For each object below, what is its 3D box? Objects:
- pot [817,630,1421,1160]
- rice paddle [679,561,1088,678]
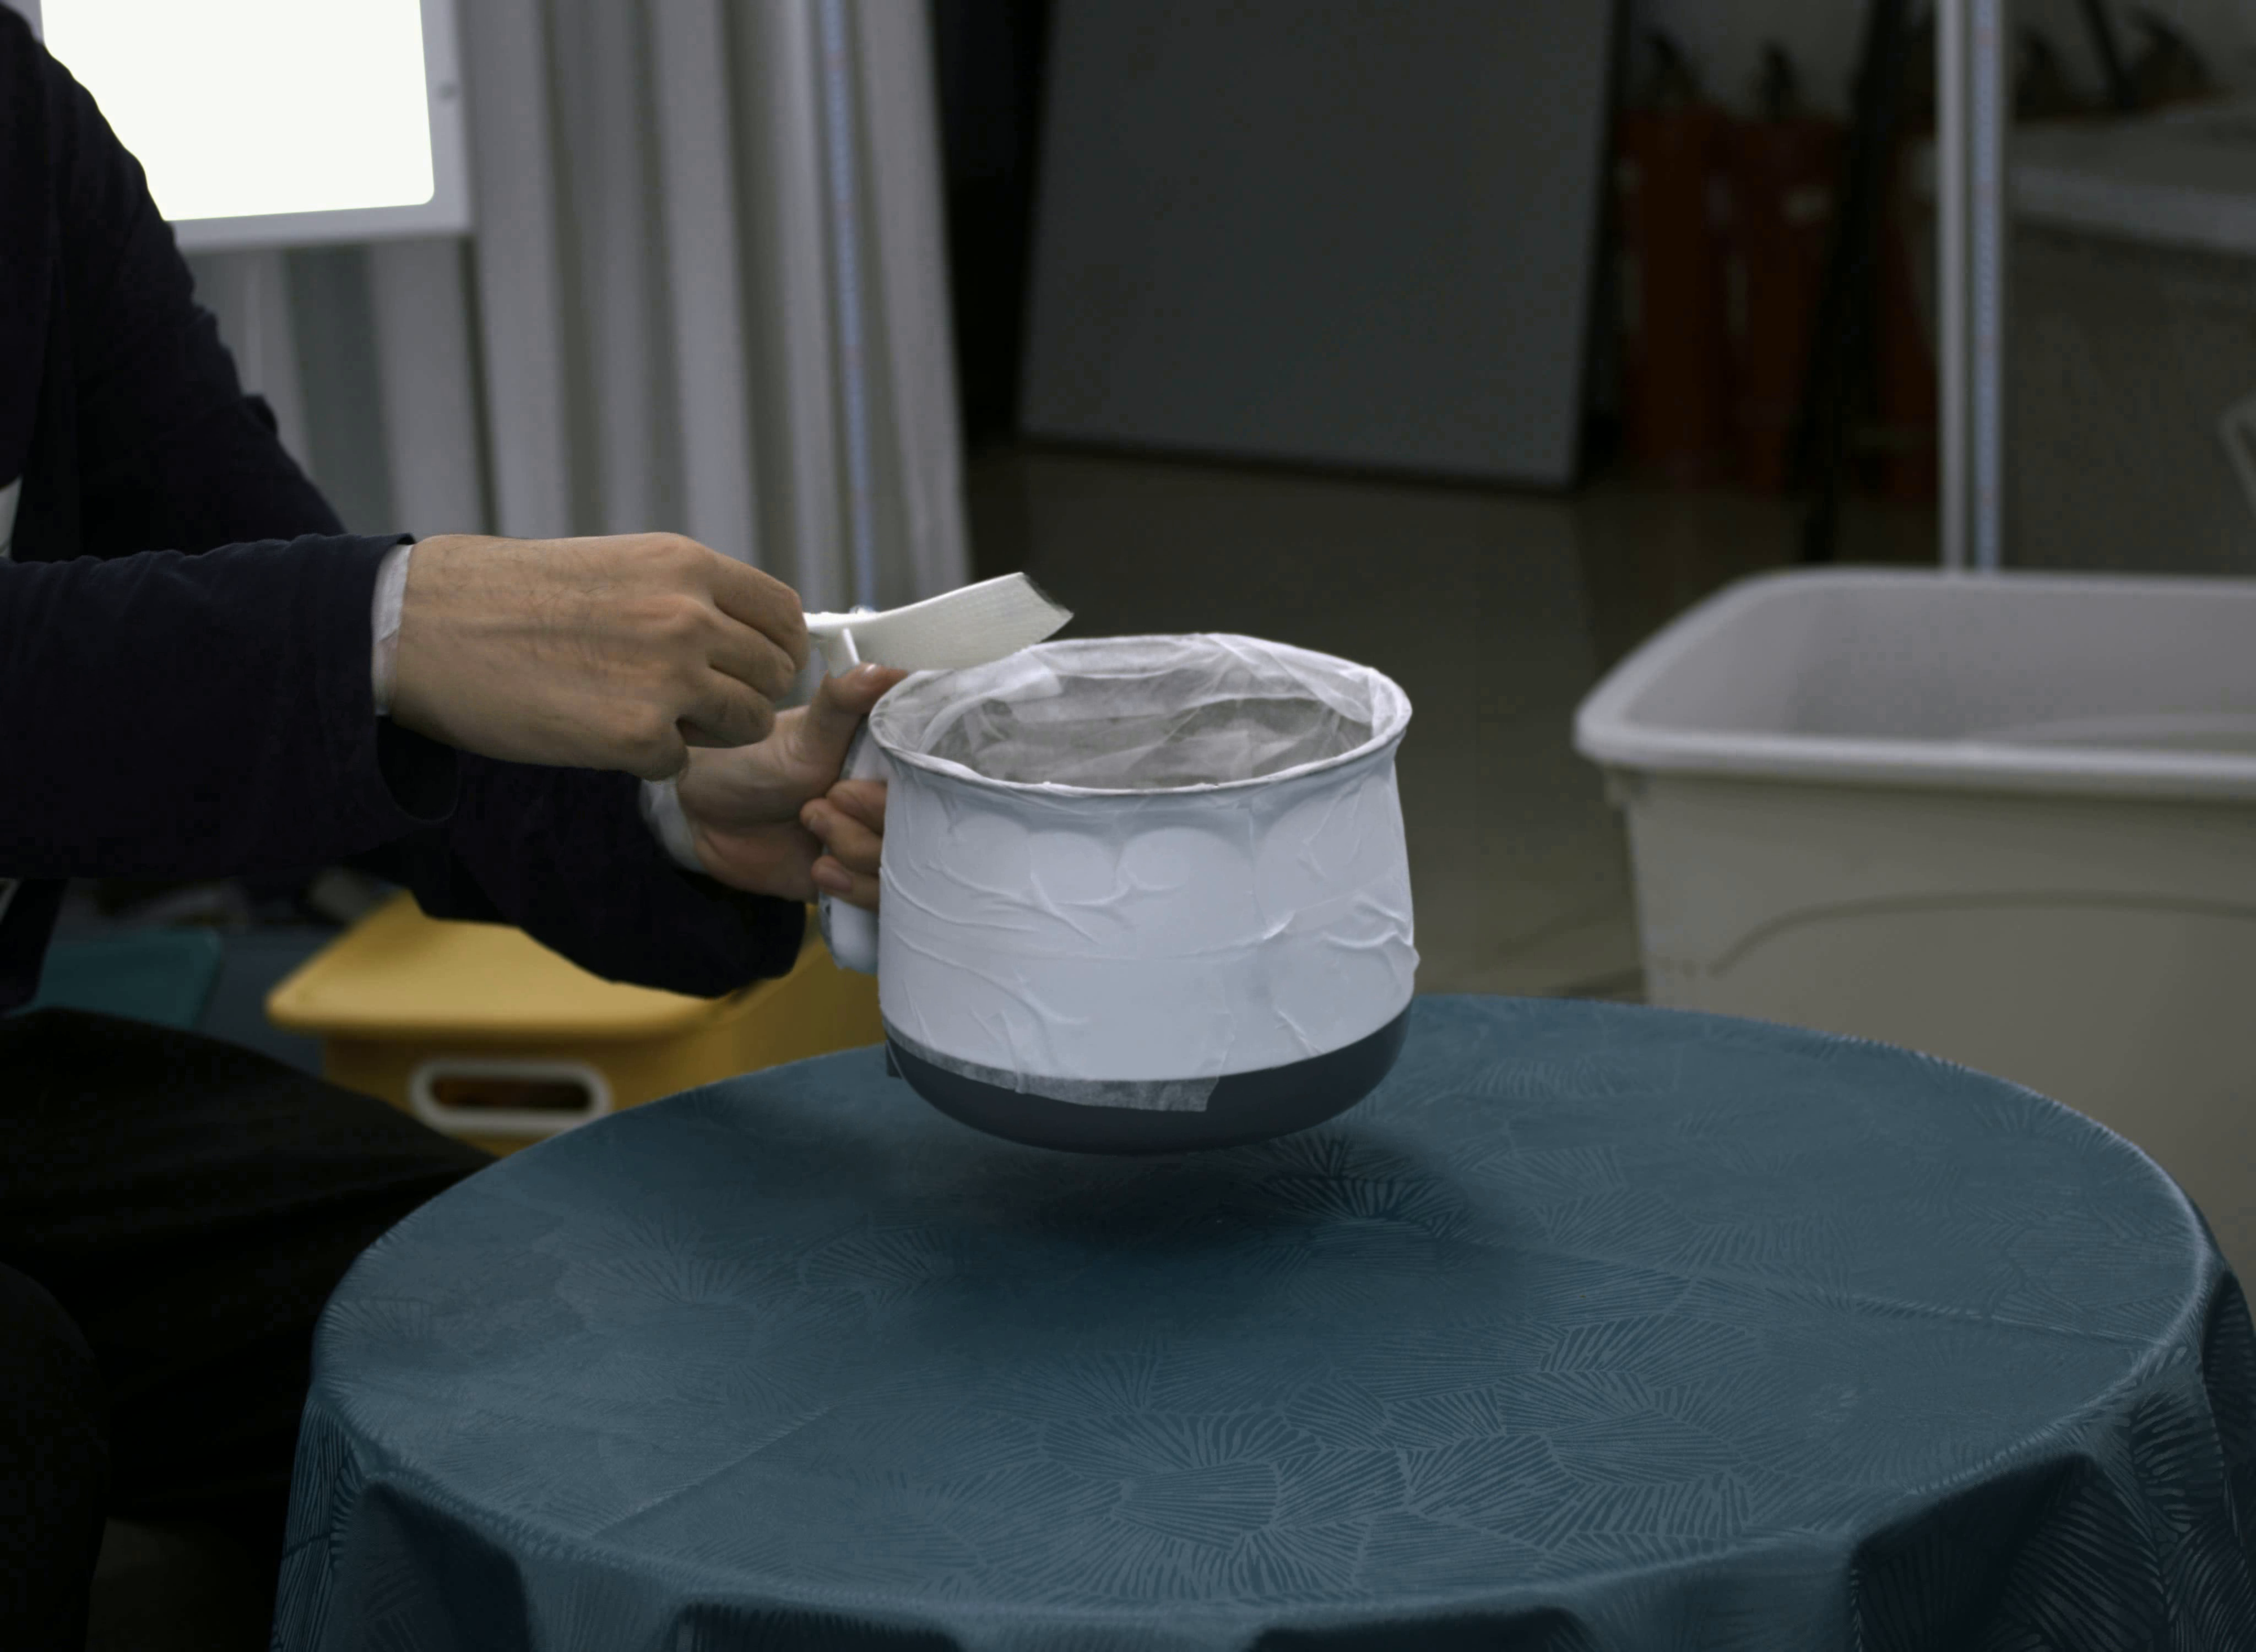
[{"bbox_3d":[-0.015,0.015,1.776,0.236,0.138,0.175,15,21,41],"label":"pot"},{"bbox_3d":[-0.075,-0.066,1.720,0.069,0.030,0.202,-35,-14,26],"label":"rice paddle"}]
